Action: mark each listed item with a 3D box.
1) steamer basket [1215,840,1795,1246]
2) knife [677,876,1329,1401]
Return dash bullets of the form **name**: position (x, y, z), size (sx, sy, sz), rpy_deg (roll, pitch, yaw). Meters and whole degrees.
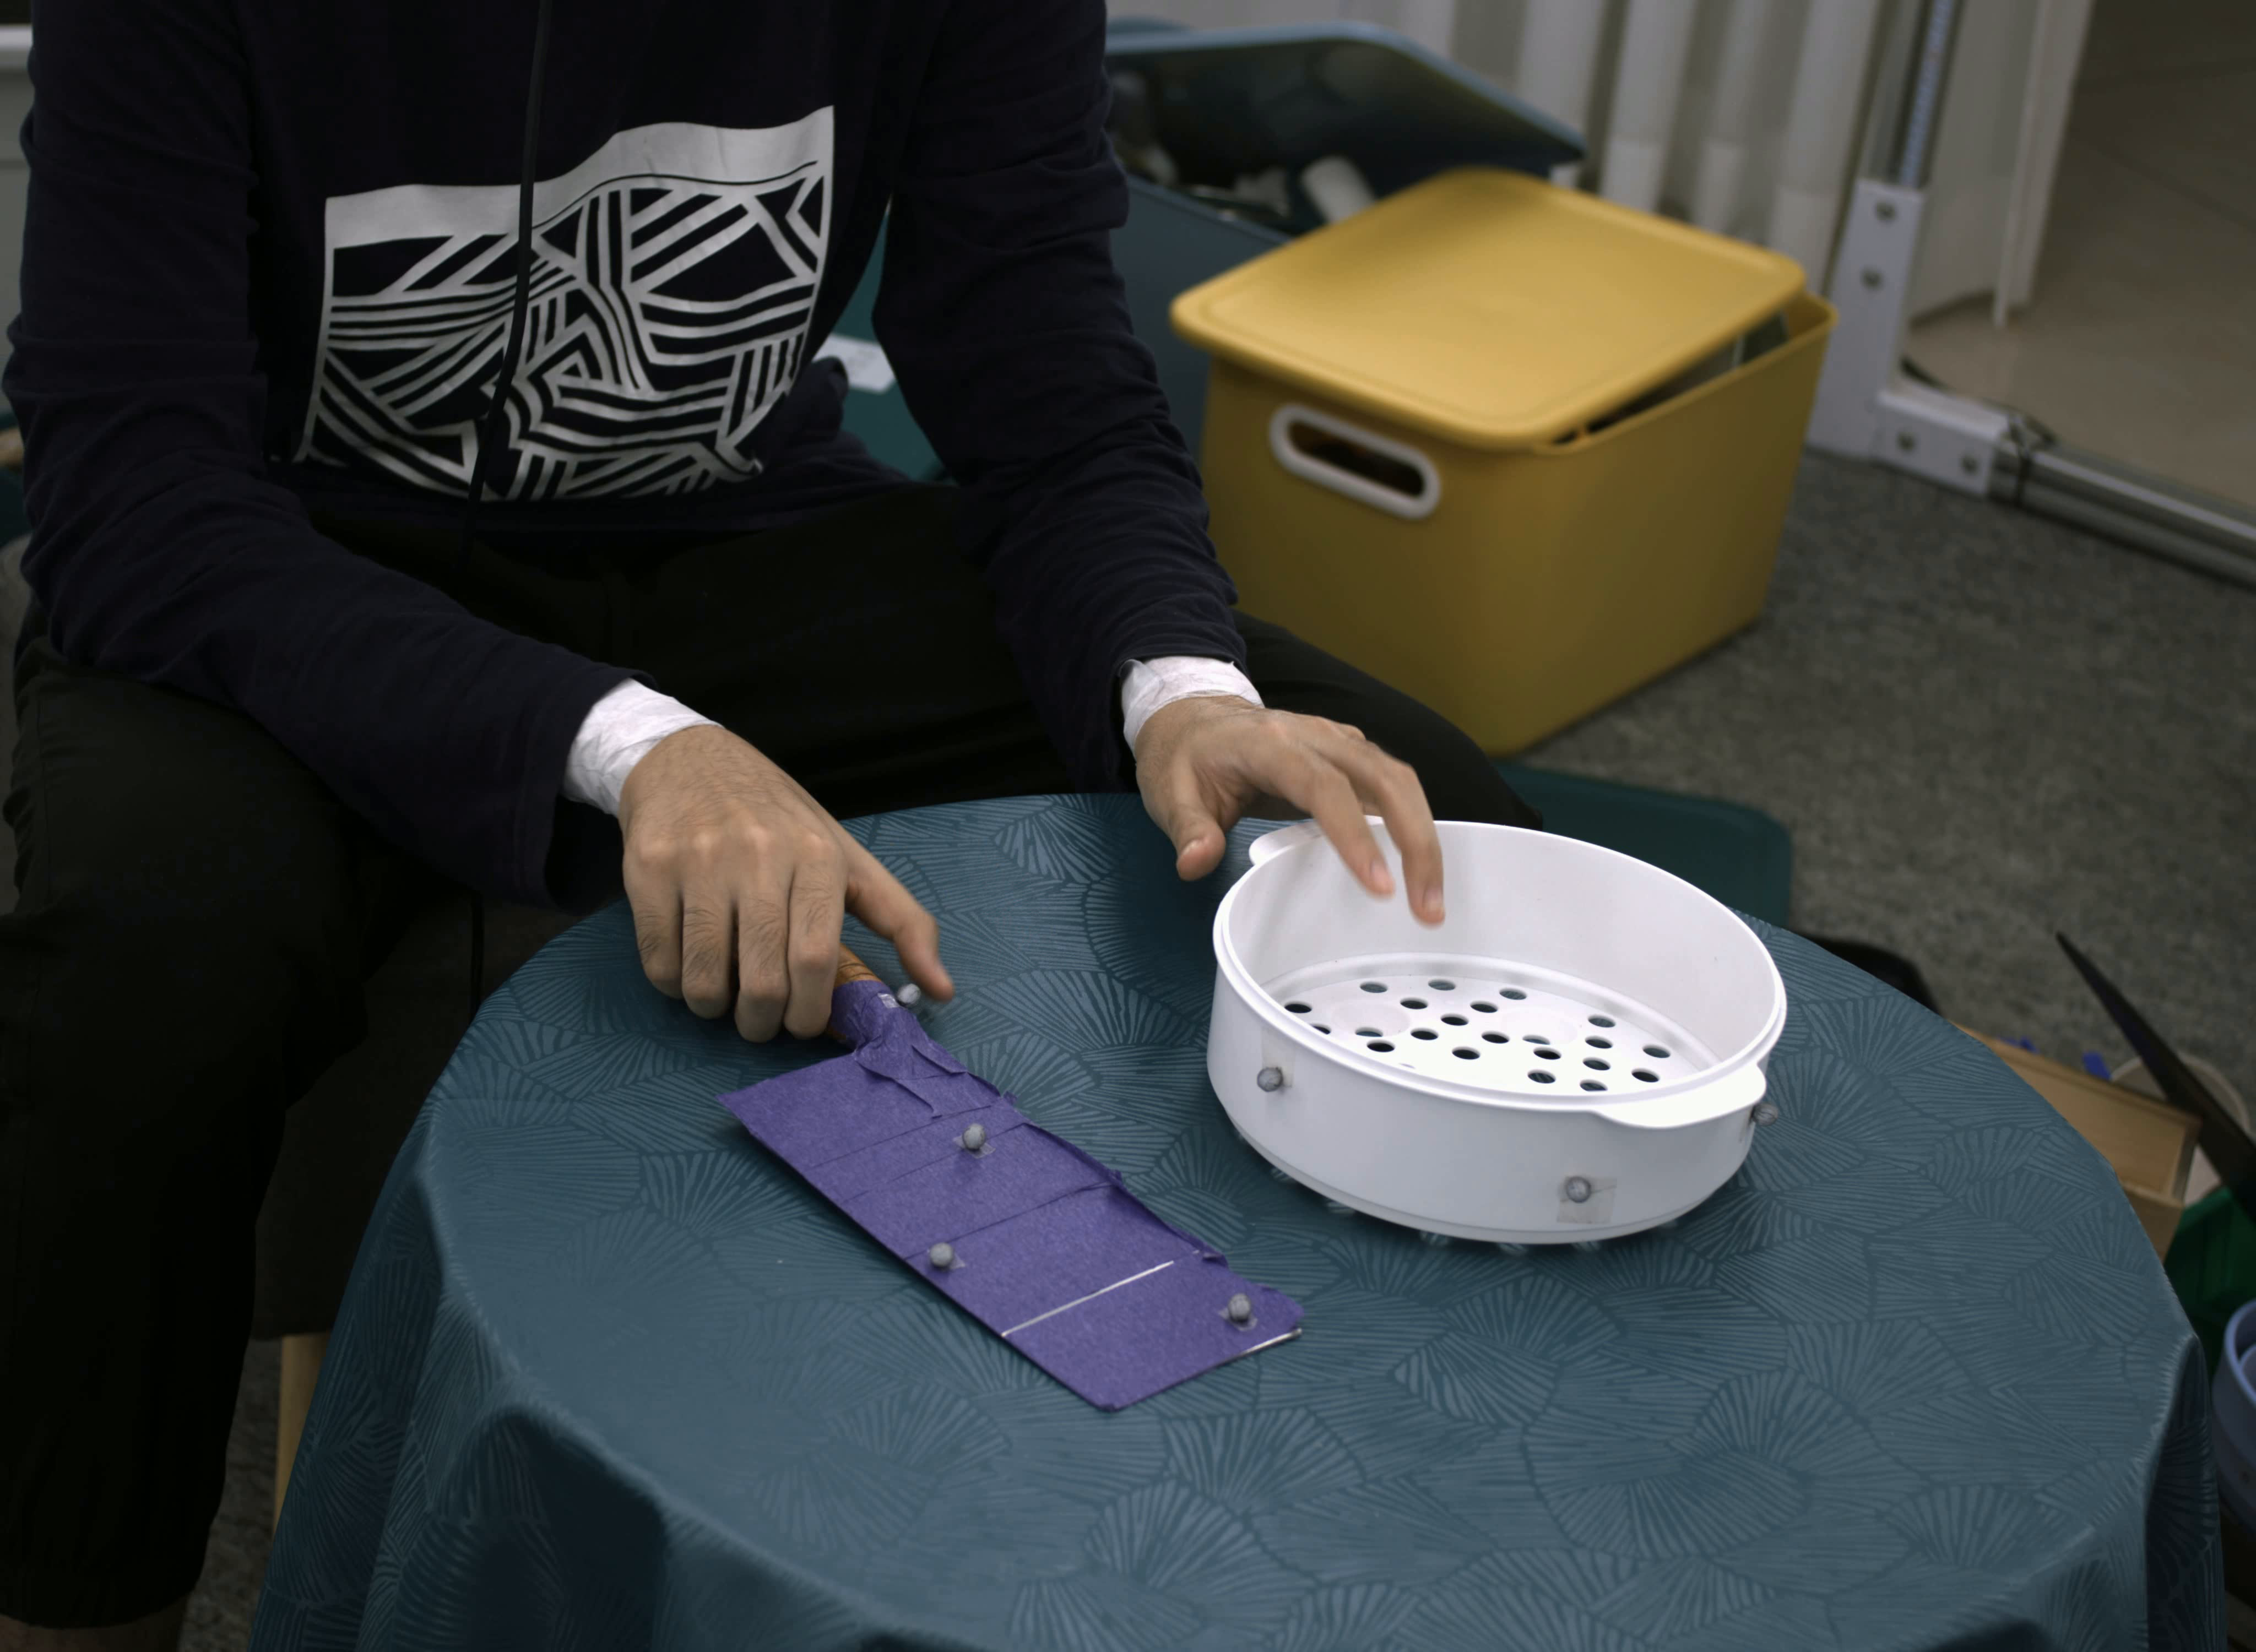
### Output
- **steamer basket**: position (0.129, 0.076, 1.857), size (0.200, 0.069, 0.232), rpy_deg (-12, 29, -34)
- **knife**: position (-0.072, 0.102, 1.803), size (0.103, 0.032, 0.318), rpy_deg (-16, 35, -38)
